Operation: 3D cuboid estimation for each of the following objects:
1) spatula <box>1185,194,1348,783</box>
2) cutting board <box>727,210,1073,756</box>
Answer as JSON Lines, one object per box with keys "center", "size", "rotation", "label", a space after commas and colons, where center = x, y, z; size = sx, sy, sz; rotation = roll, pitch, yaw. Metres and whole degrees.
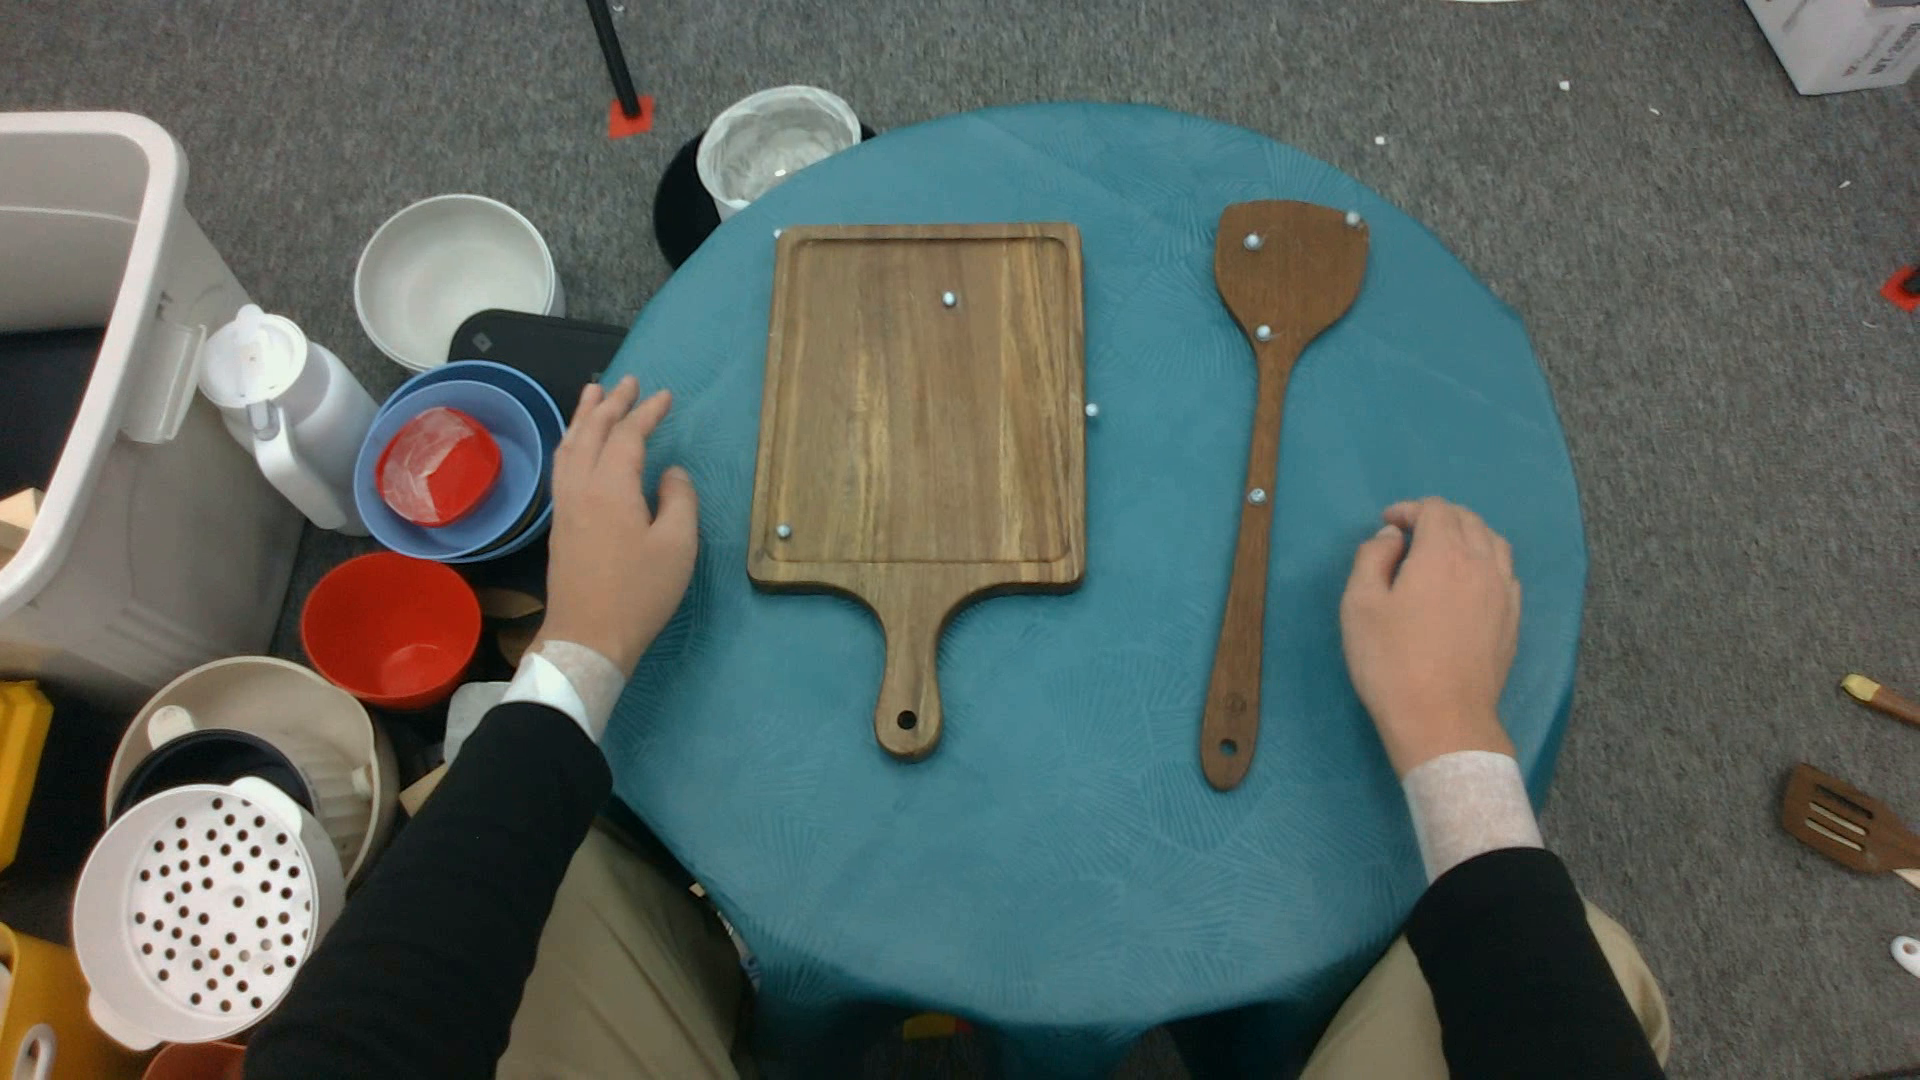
{"center": [0.168, -0.046, 0.812], "size": [0.096, 0.016, 0.387], "rotation": [9, 67, 6], "label": "spatula"}
{"center": [-0.036, -0.046, 0.815], "size": [0.201, 0.023, 0.353], "rotation": [-1, 66, 2], "label": "cutting board"}
